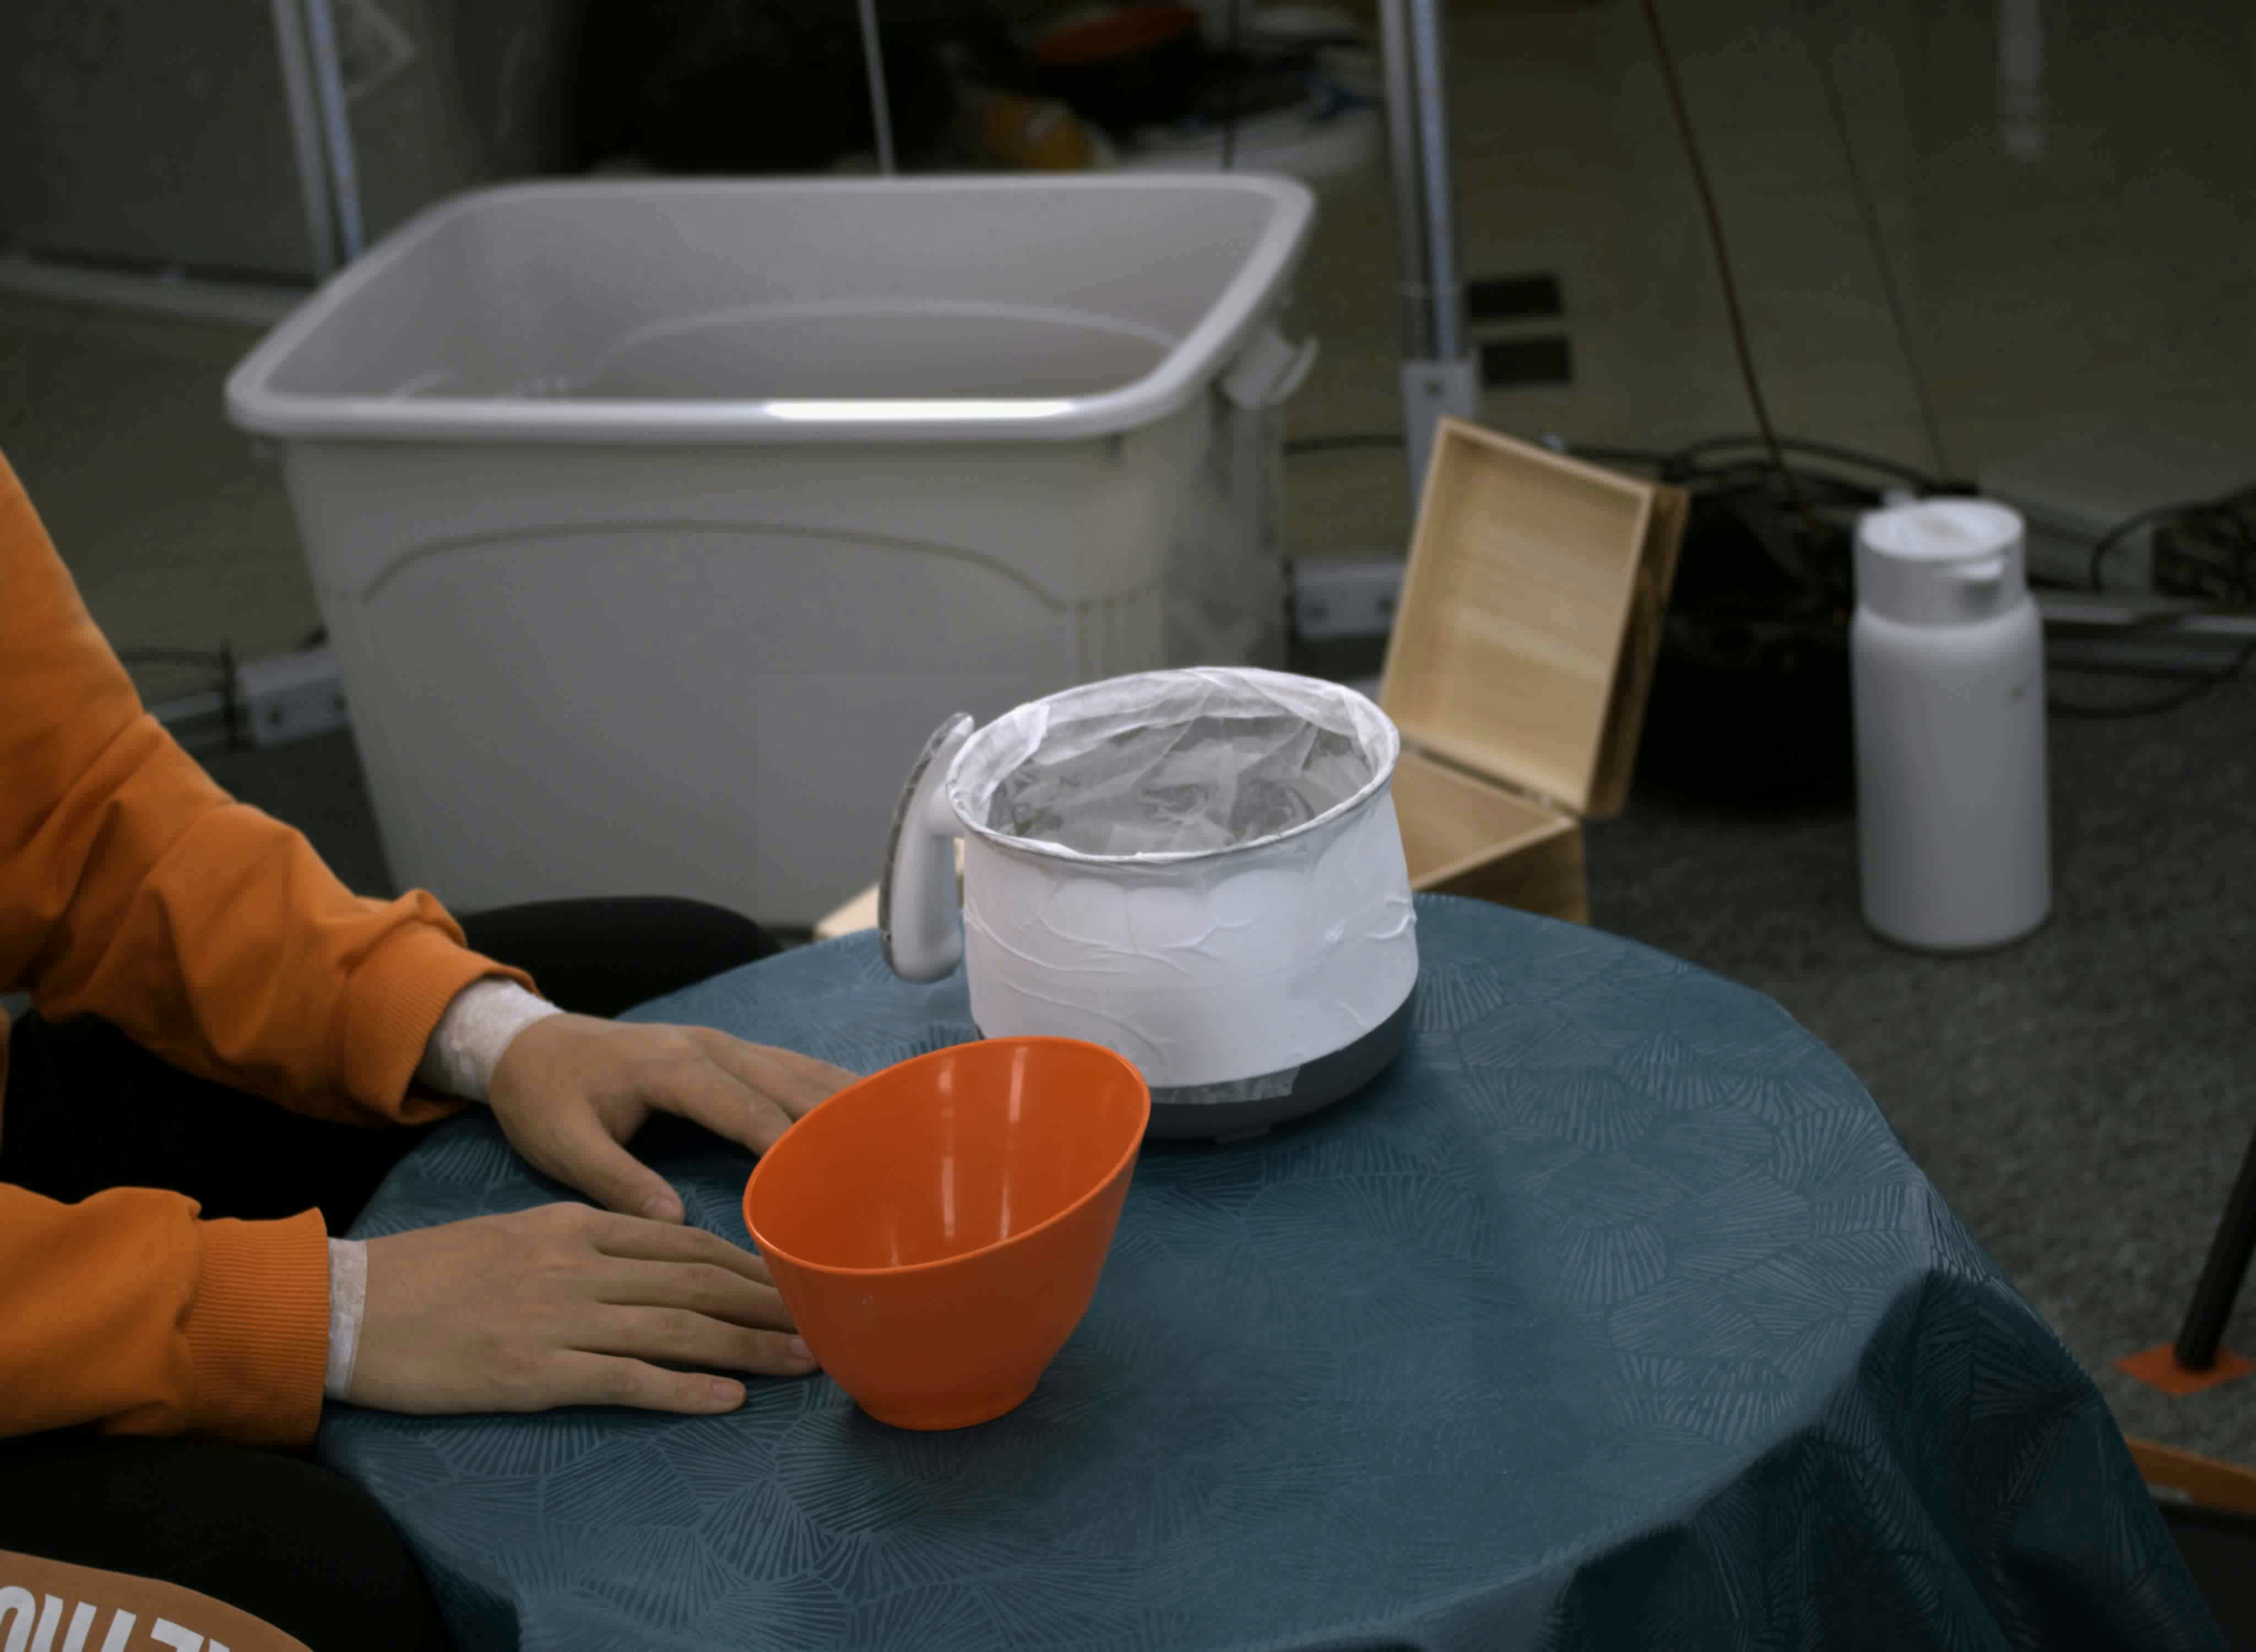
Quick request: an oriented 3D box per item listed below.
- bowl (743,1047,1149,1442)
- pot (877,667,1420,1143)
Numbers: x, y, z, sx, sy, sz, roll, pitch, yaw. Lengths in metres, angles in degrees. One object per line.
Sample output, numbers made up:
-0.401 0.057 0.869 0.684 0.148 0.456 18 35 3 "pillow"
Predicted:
-0.059 0.155 2.014 0.148 0.106 0.146 -7 25 3 "bowl"
0.000 0.028 2.220 0.232 0.139 0.176 10 29 30 "pot"
